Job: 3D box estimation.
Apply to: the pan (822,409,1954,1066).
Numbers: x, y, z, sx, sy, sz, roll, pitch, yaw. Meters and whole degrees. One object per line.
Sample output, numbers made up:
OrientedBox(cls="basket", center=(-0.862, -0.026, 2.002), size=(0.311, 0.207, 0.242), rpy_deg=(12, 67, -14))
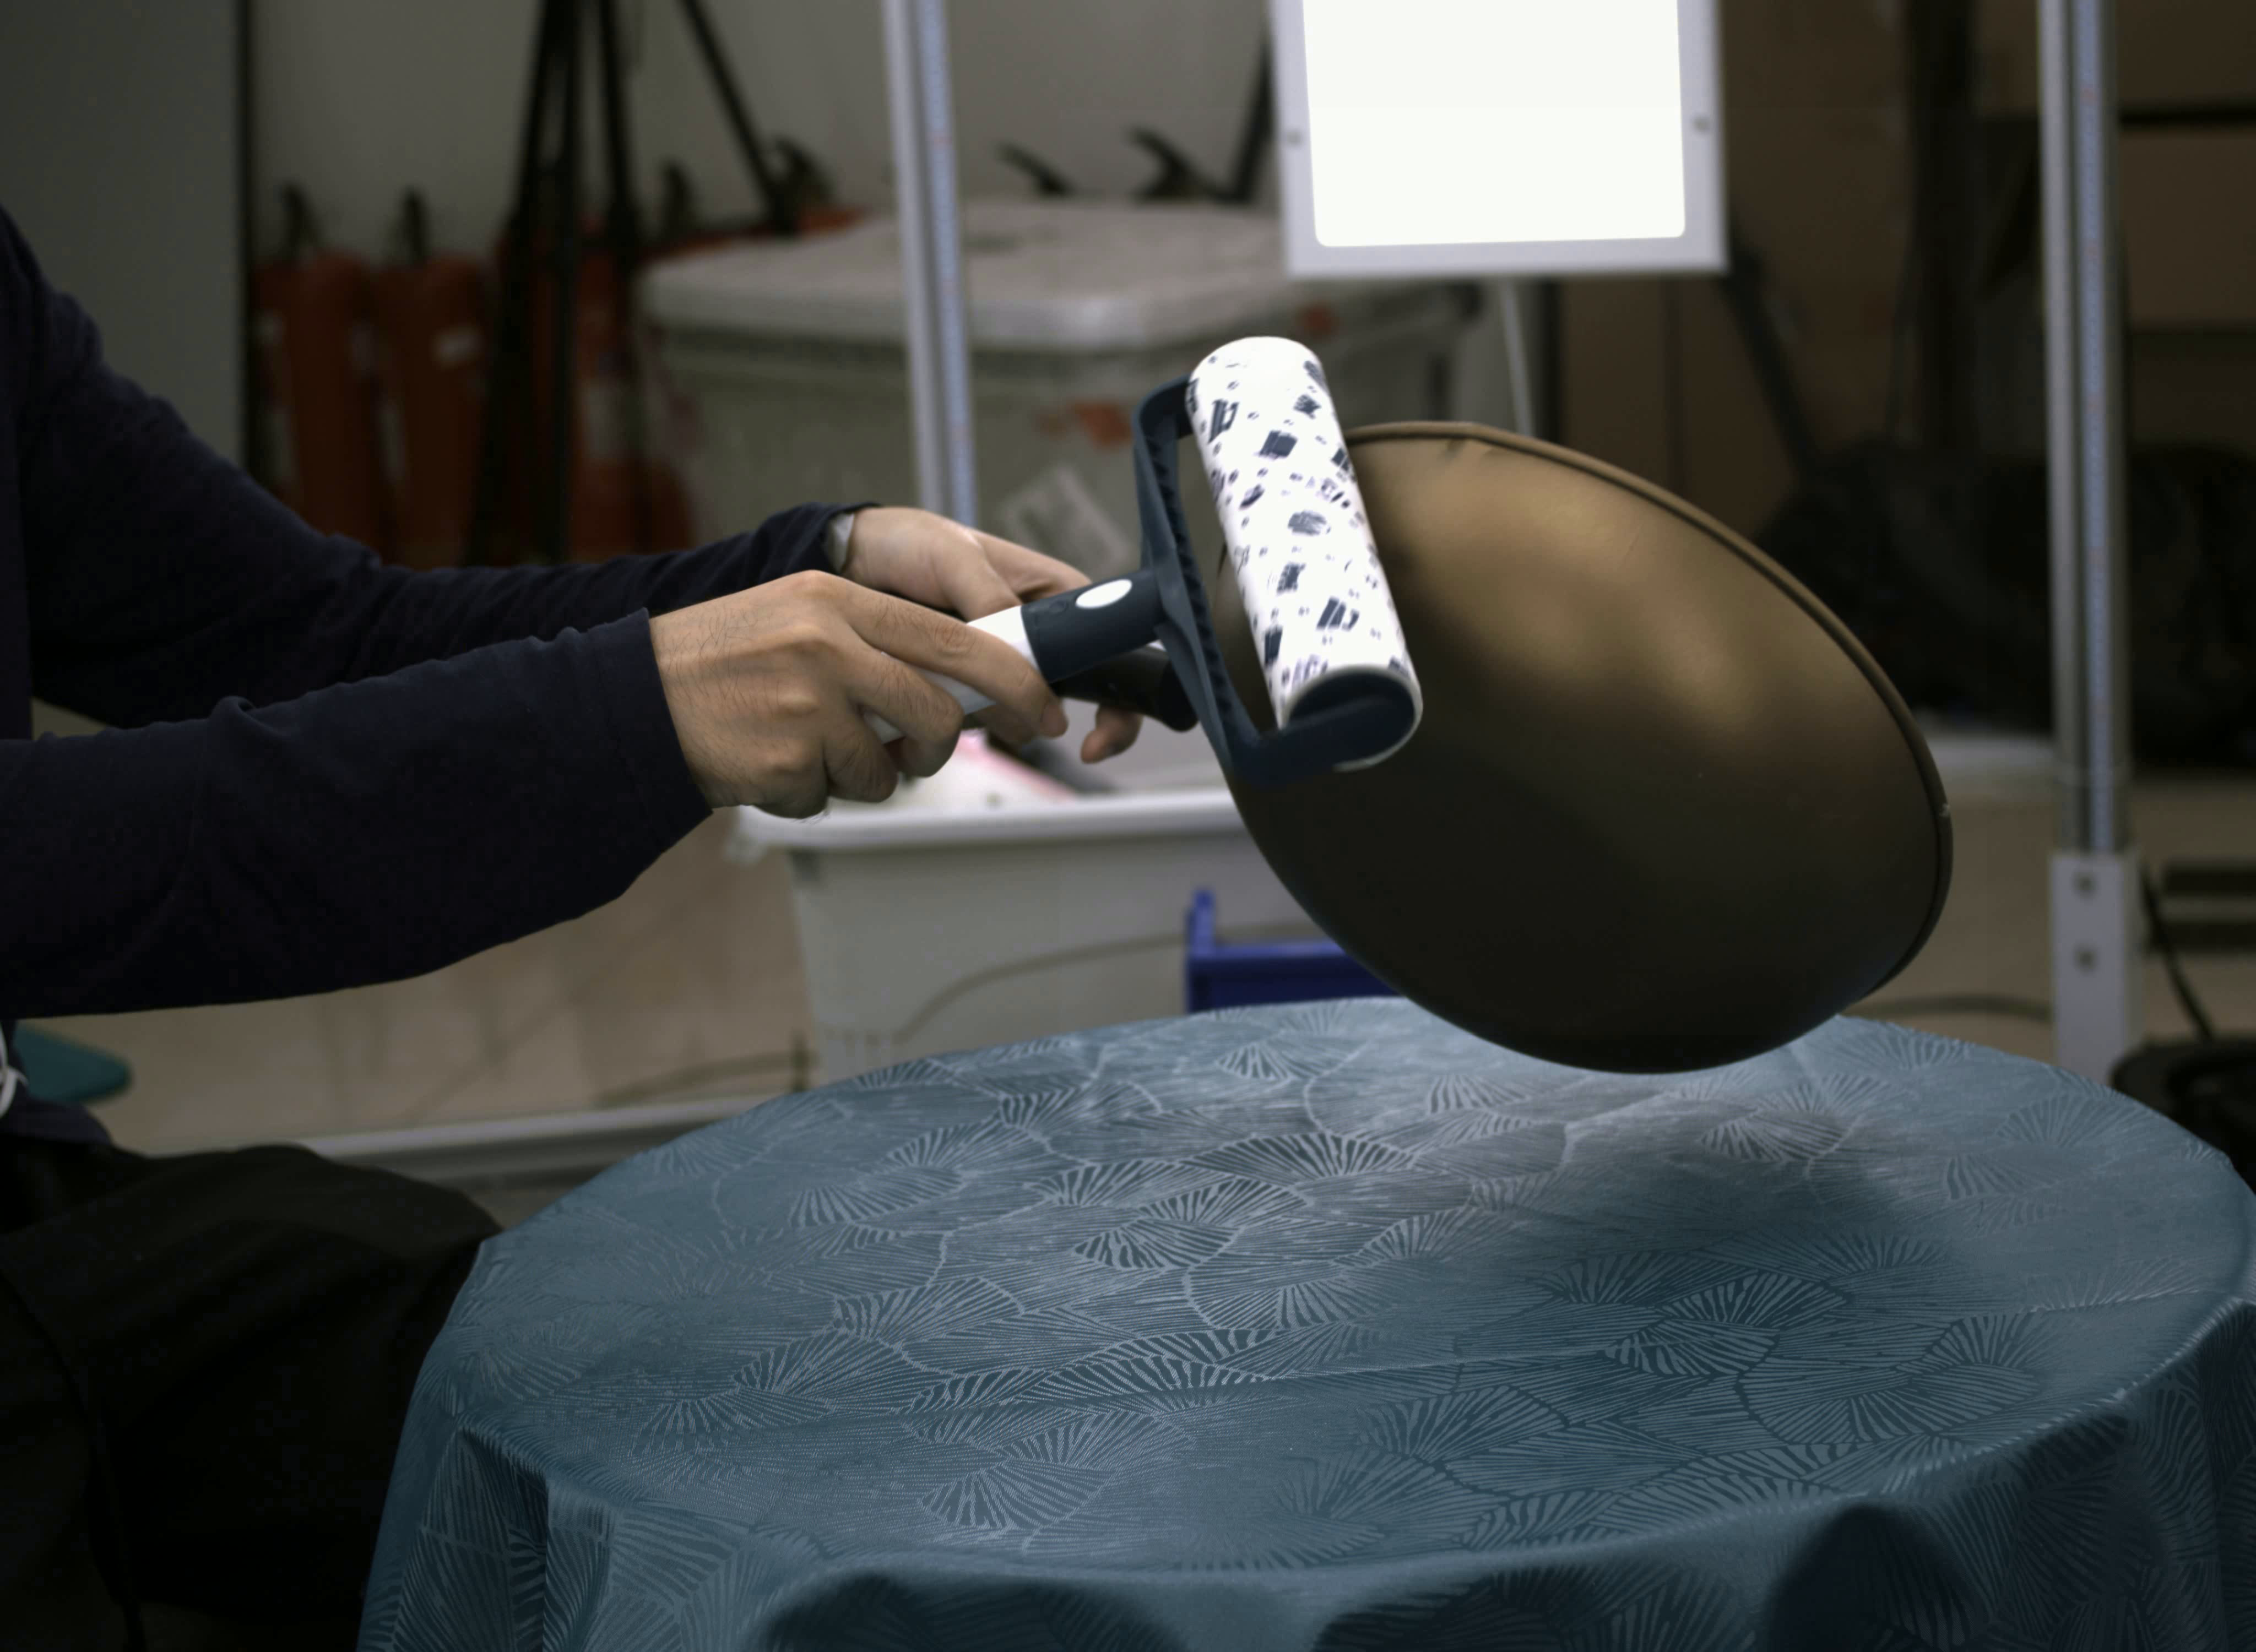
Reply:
OrientedBox(cls="pan", center=(0.061, -0.022, 1.908), size=(0.472, 0.286, 0.085), rpy_deg=(9, 51, 35))

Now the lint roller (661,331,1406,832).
OrientedBox(cls="lint roller", center=(-0.040, -0.057, 1.783), size=(0.248, 0.050, 0.176), rpy_deg=(-21, 44, 8))
